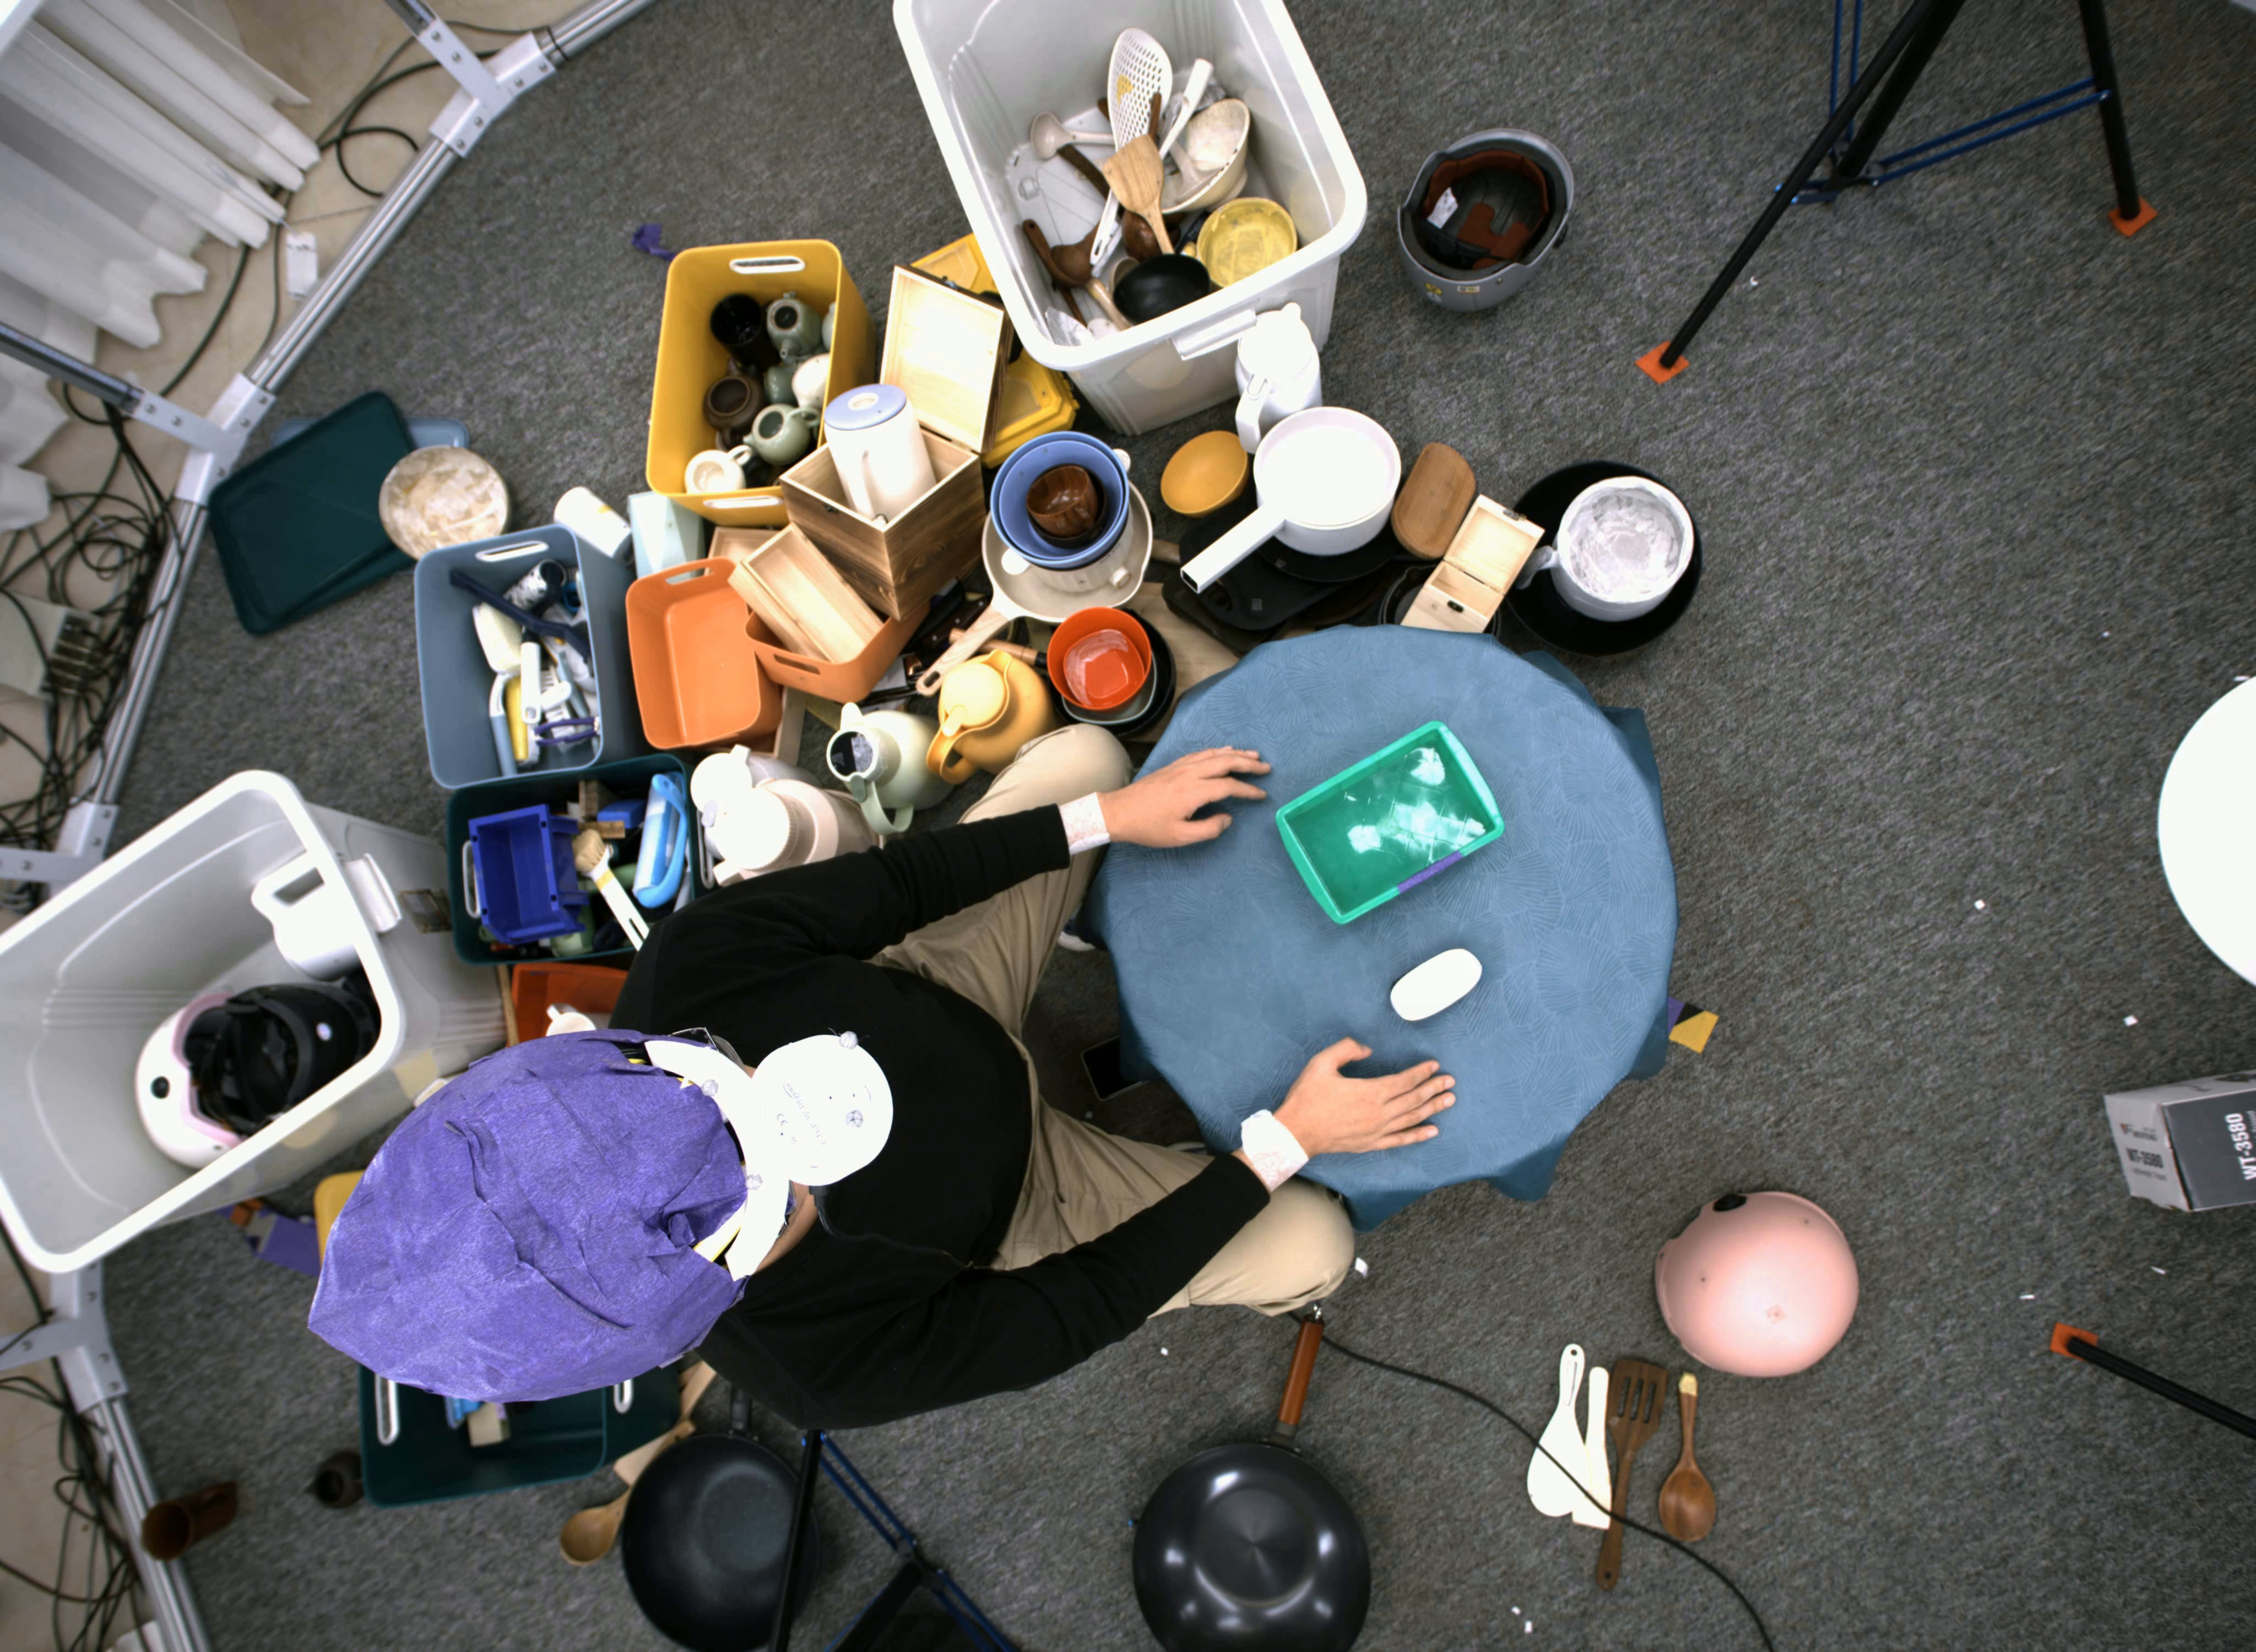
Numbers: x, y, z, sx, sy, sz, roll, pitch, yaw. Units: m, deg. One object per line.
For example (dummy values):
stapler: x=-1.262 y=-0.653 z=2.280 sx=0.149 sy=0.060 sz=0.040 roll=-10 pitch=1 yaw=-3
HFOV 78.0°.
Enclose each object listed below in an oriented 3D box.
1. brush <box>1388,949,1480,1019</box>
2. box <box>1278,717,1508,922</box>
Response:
brush: x=0.313 y=0.160 z=1.410 sx=0.100 sy=0.072 sz=0.050 roll=-29 pitch=82 yaw=7
box: x=0.273 y=-0.006 z=1.432 sx=0.211 sy=0.065 sz=0.138 roll=-32 pitch=84 yaw=6
